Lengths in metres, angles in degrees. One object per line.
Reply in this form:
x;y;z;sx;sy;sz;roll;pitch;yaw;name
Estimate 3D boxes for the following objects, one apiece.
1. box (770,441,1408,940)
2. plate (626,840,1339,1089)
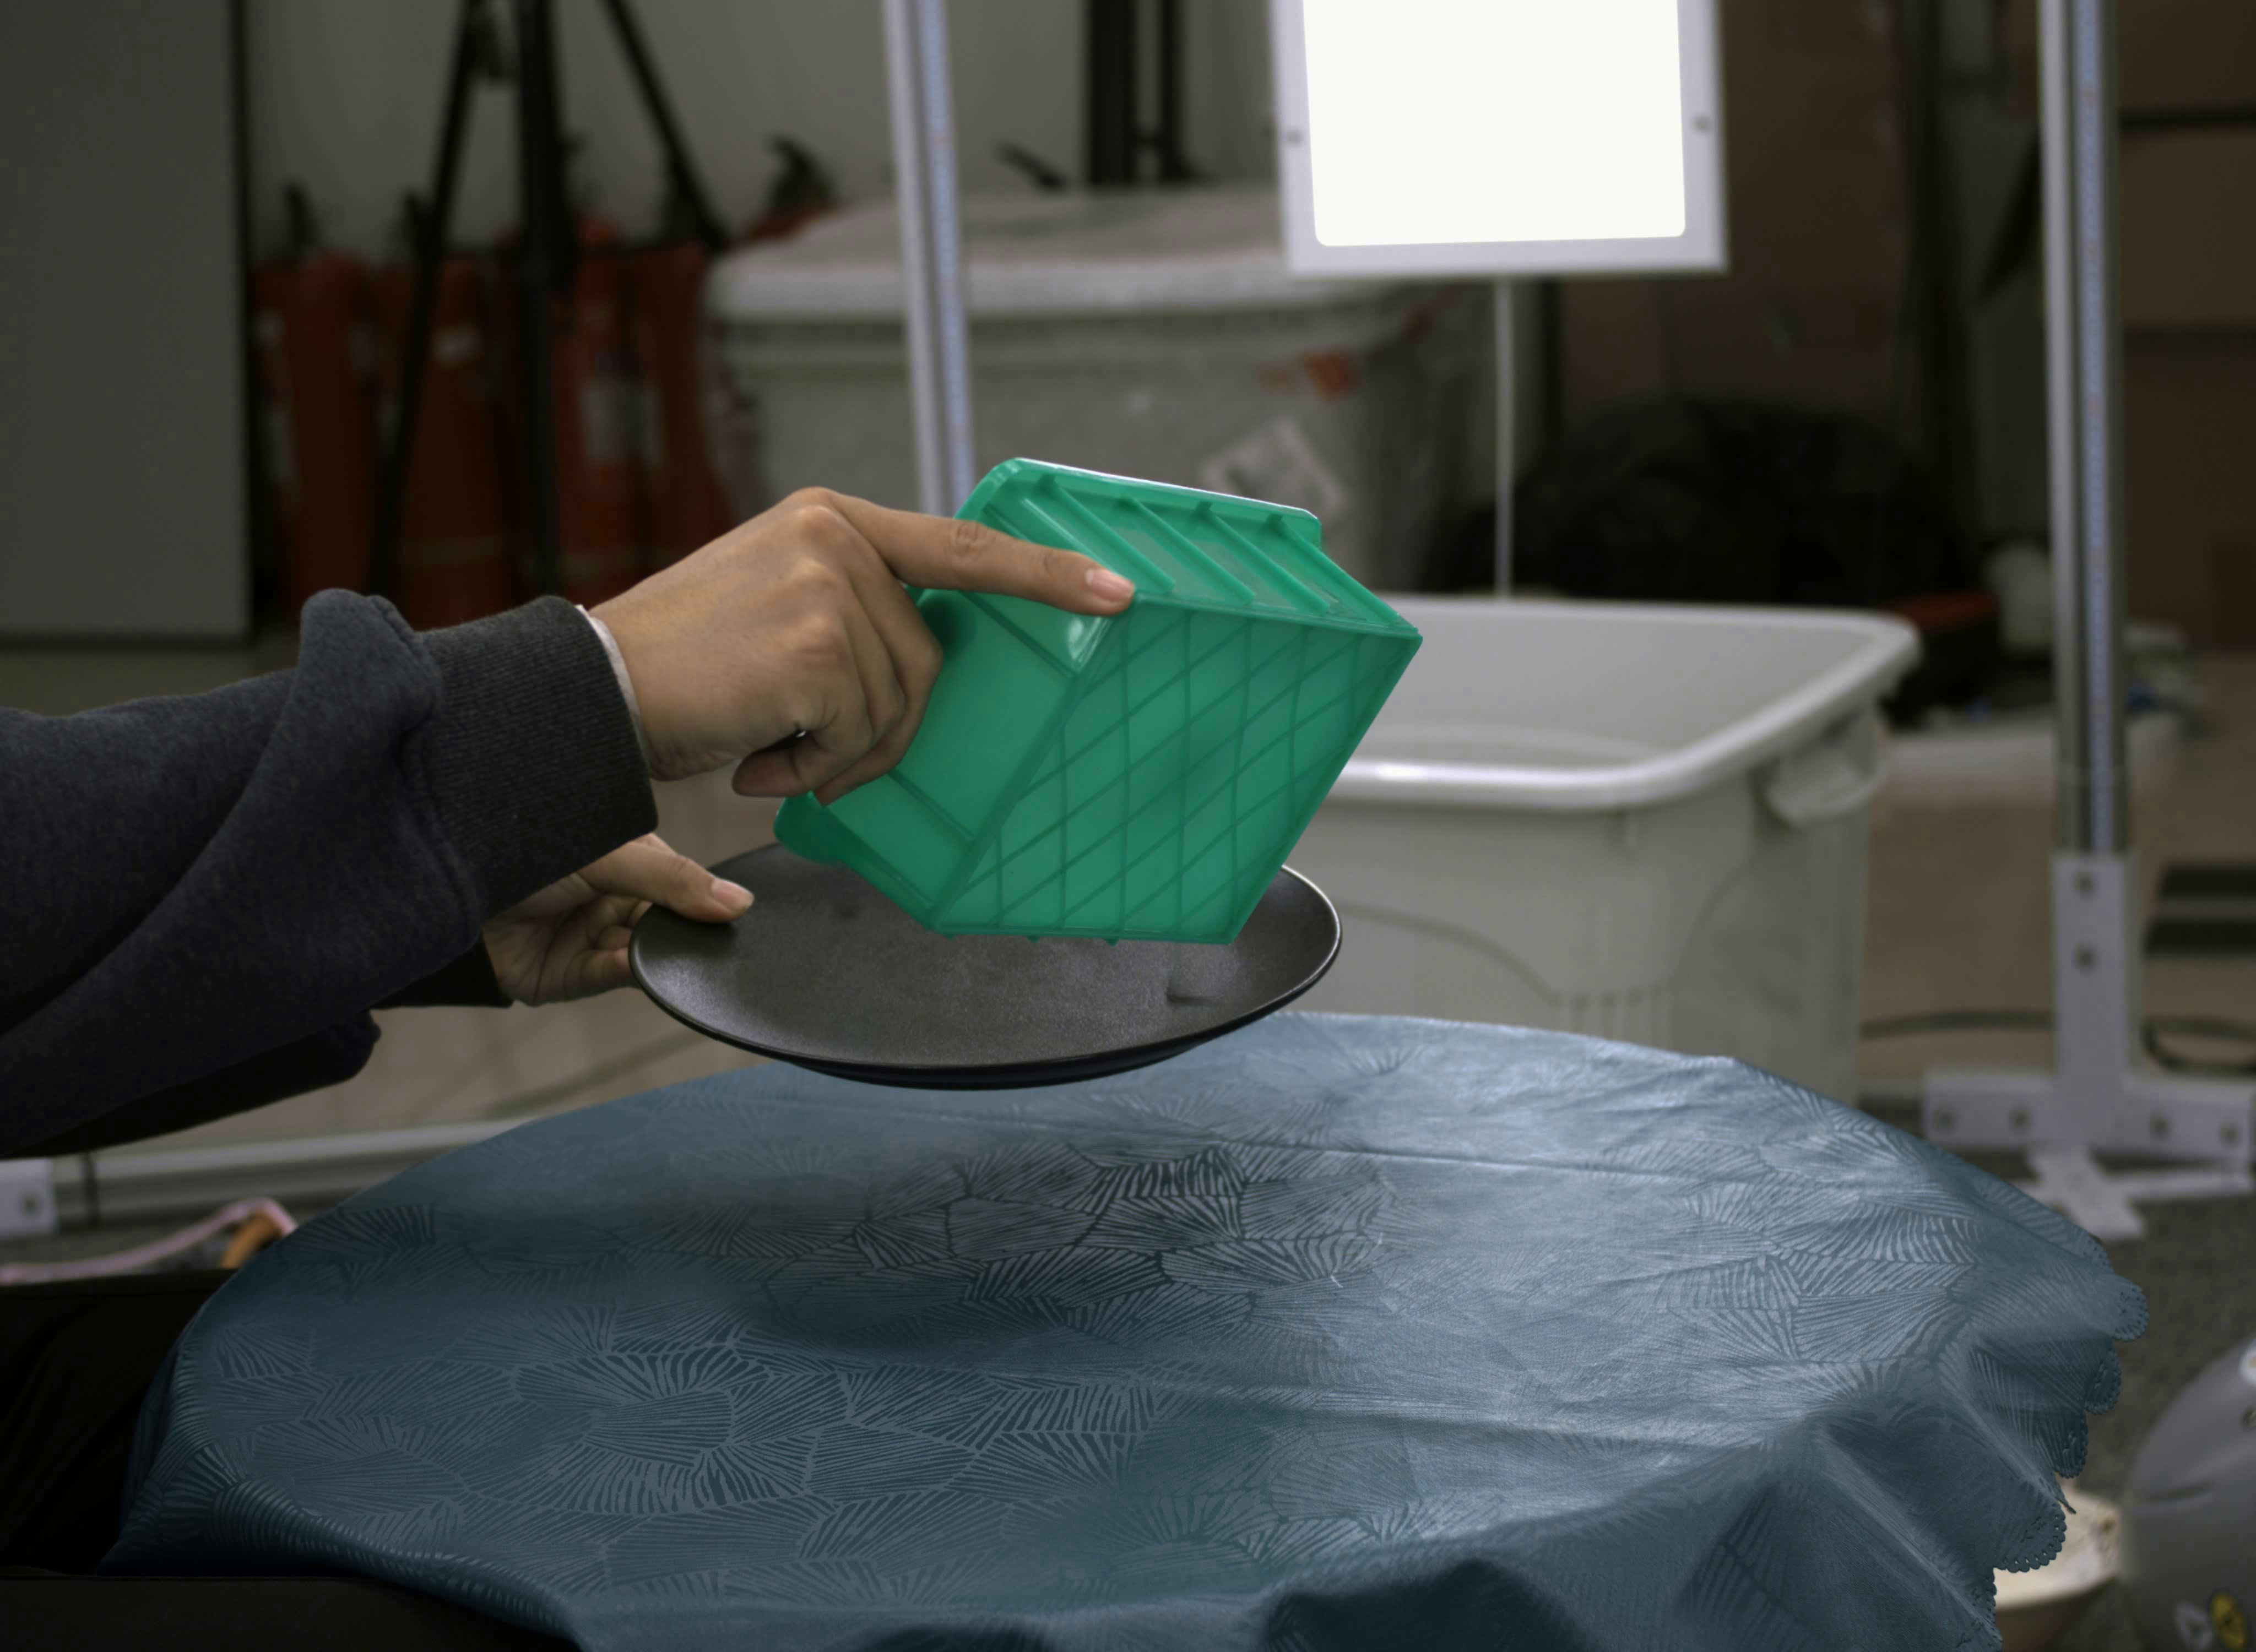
-0.004;-0.033;1.654;0.066;0.140;0.206;37;15;25;box
-0.049;0.045;1.874;0.243;0.023;0.244;-2;20;-1;plate
